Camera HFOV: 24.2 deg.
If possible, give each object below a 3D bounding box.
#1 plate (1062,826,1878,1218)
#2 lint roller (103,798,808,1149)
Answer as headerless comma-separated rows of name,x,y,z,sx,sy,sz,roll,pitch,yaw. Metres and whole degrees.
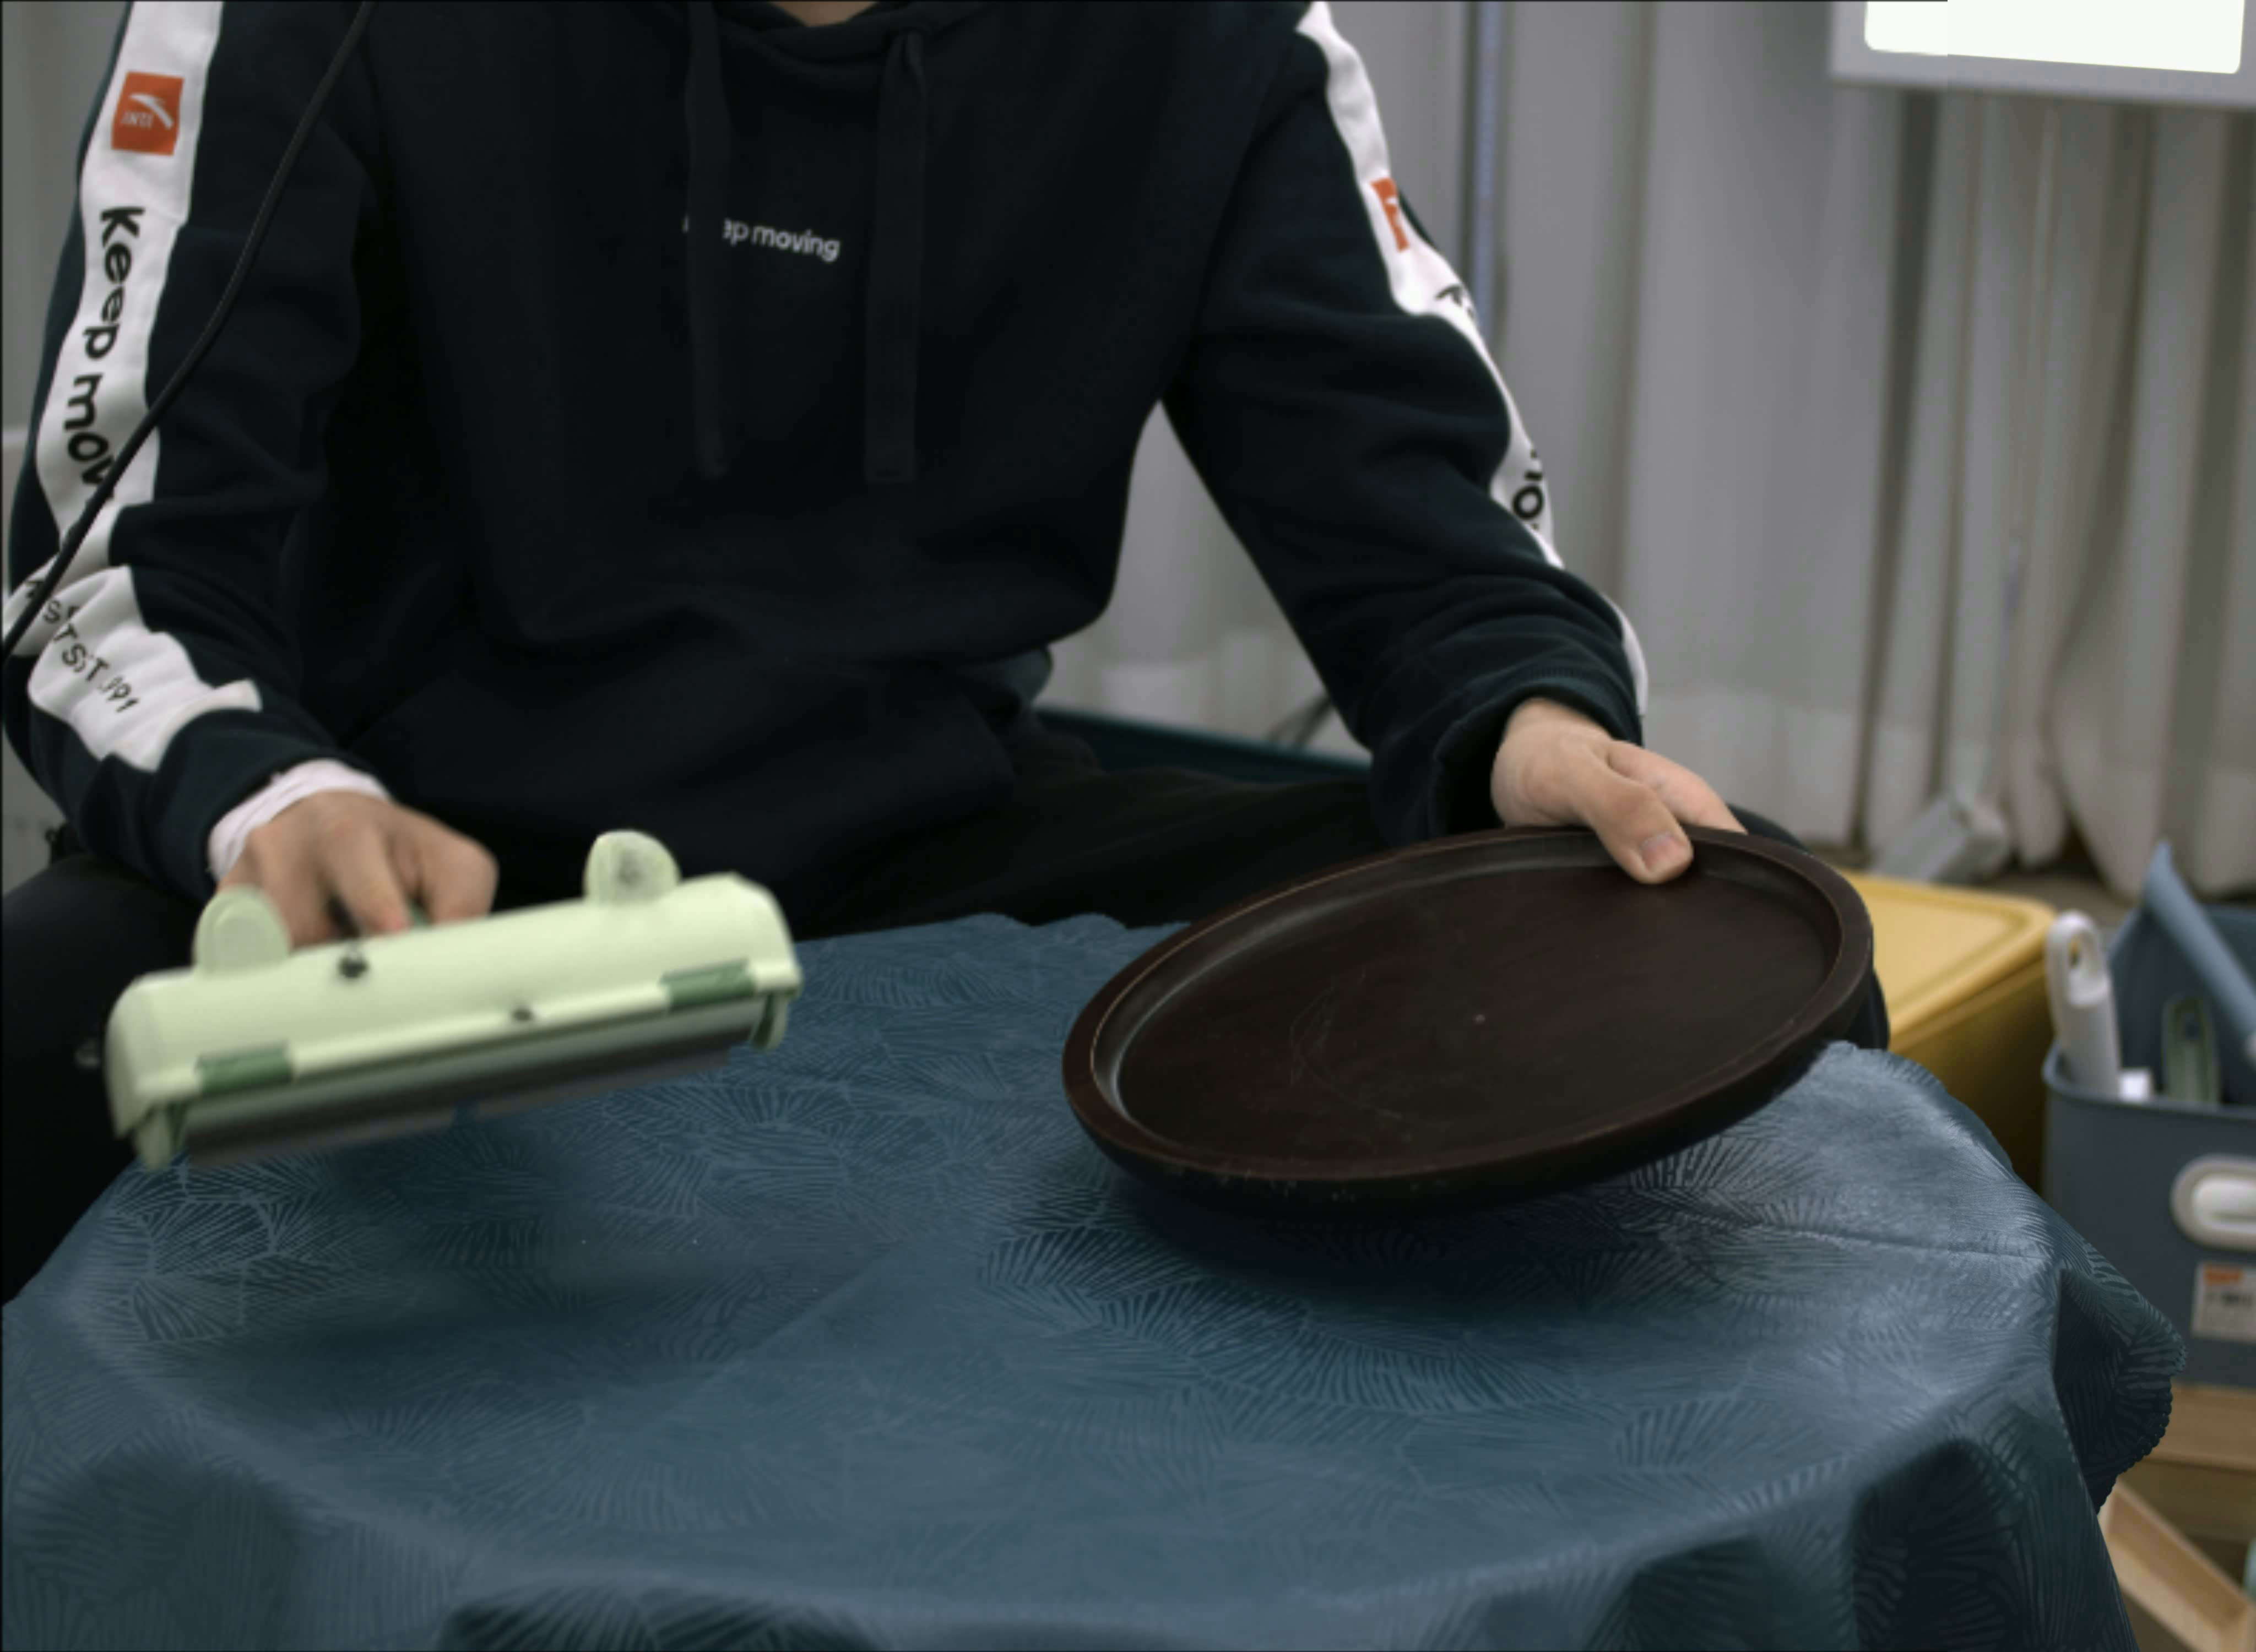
plate,0.104,0.057,1.609,0.254,0.029,0.253,-11,21,5
lint roller,-0.212,0.024,1.549,0.199,0.083,0.181,-10,24,-20
